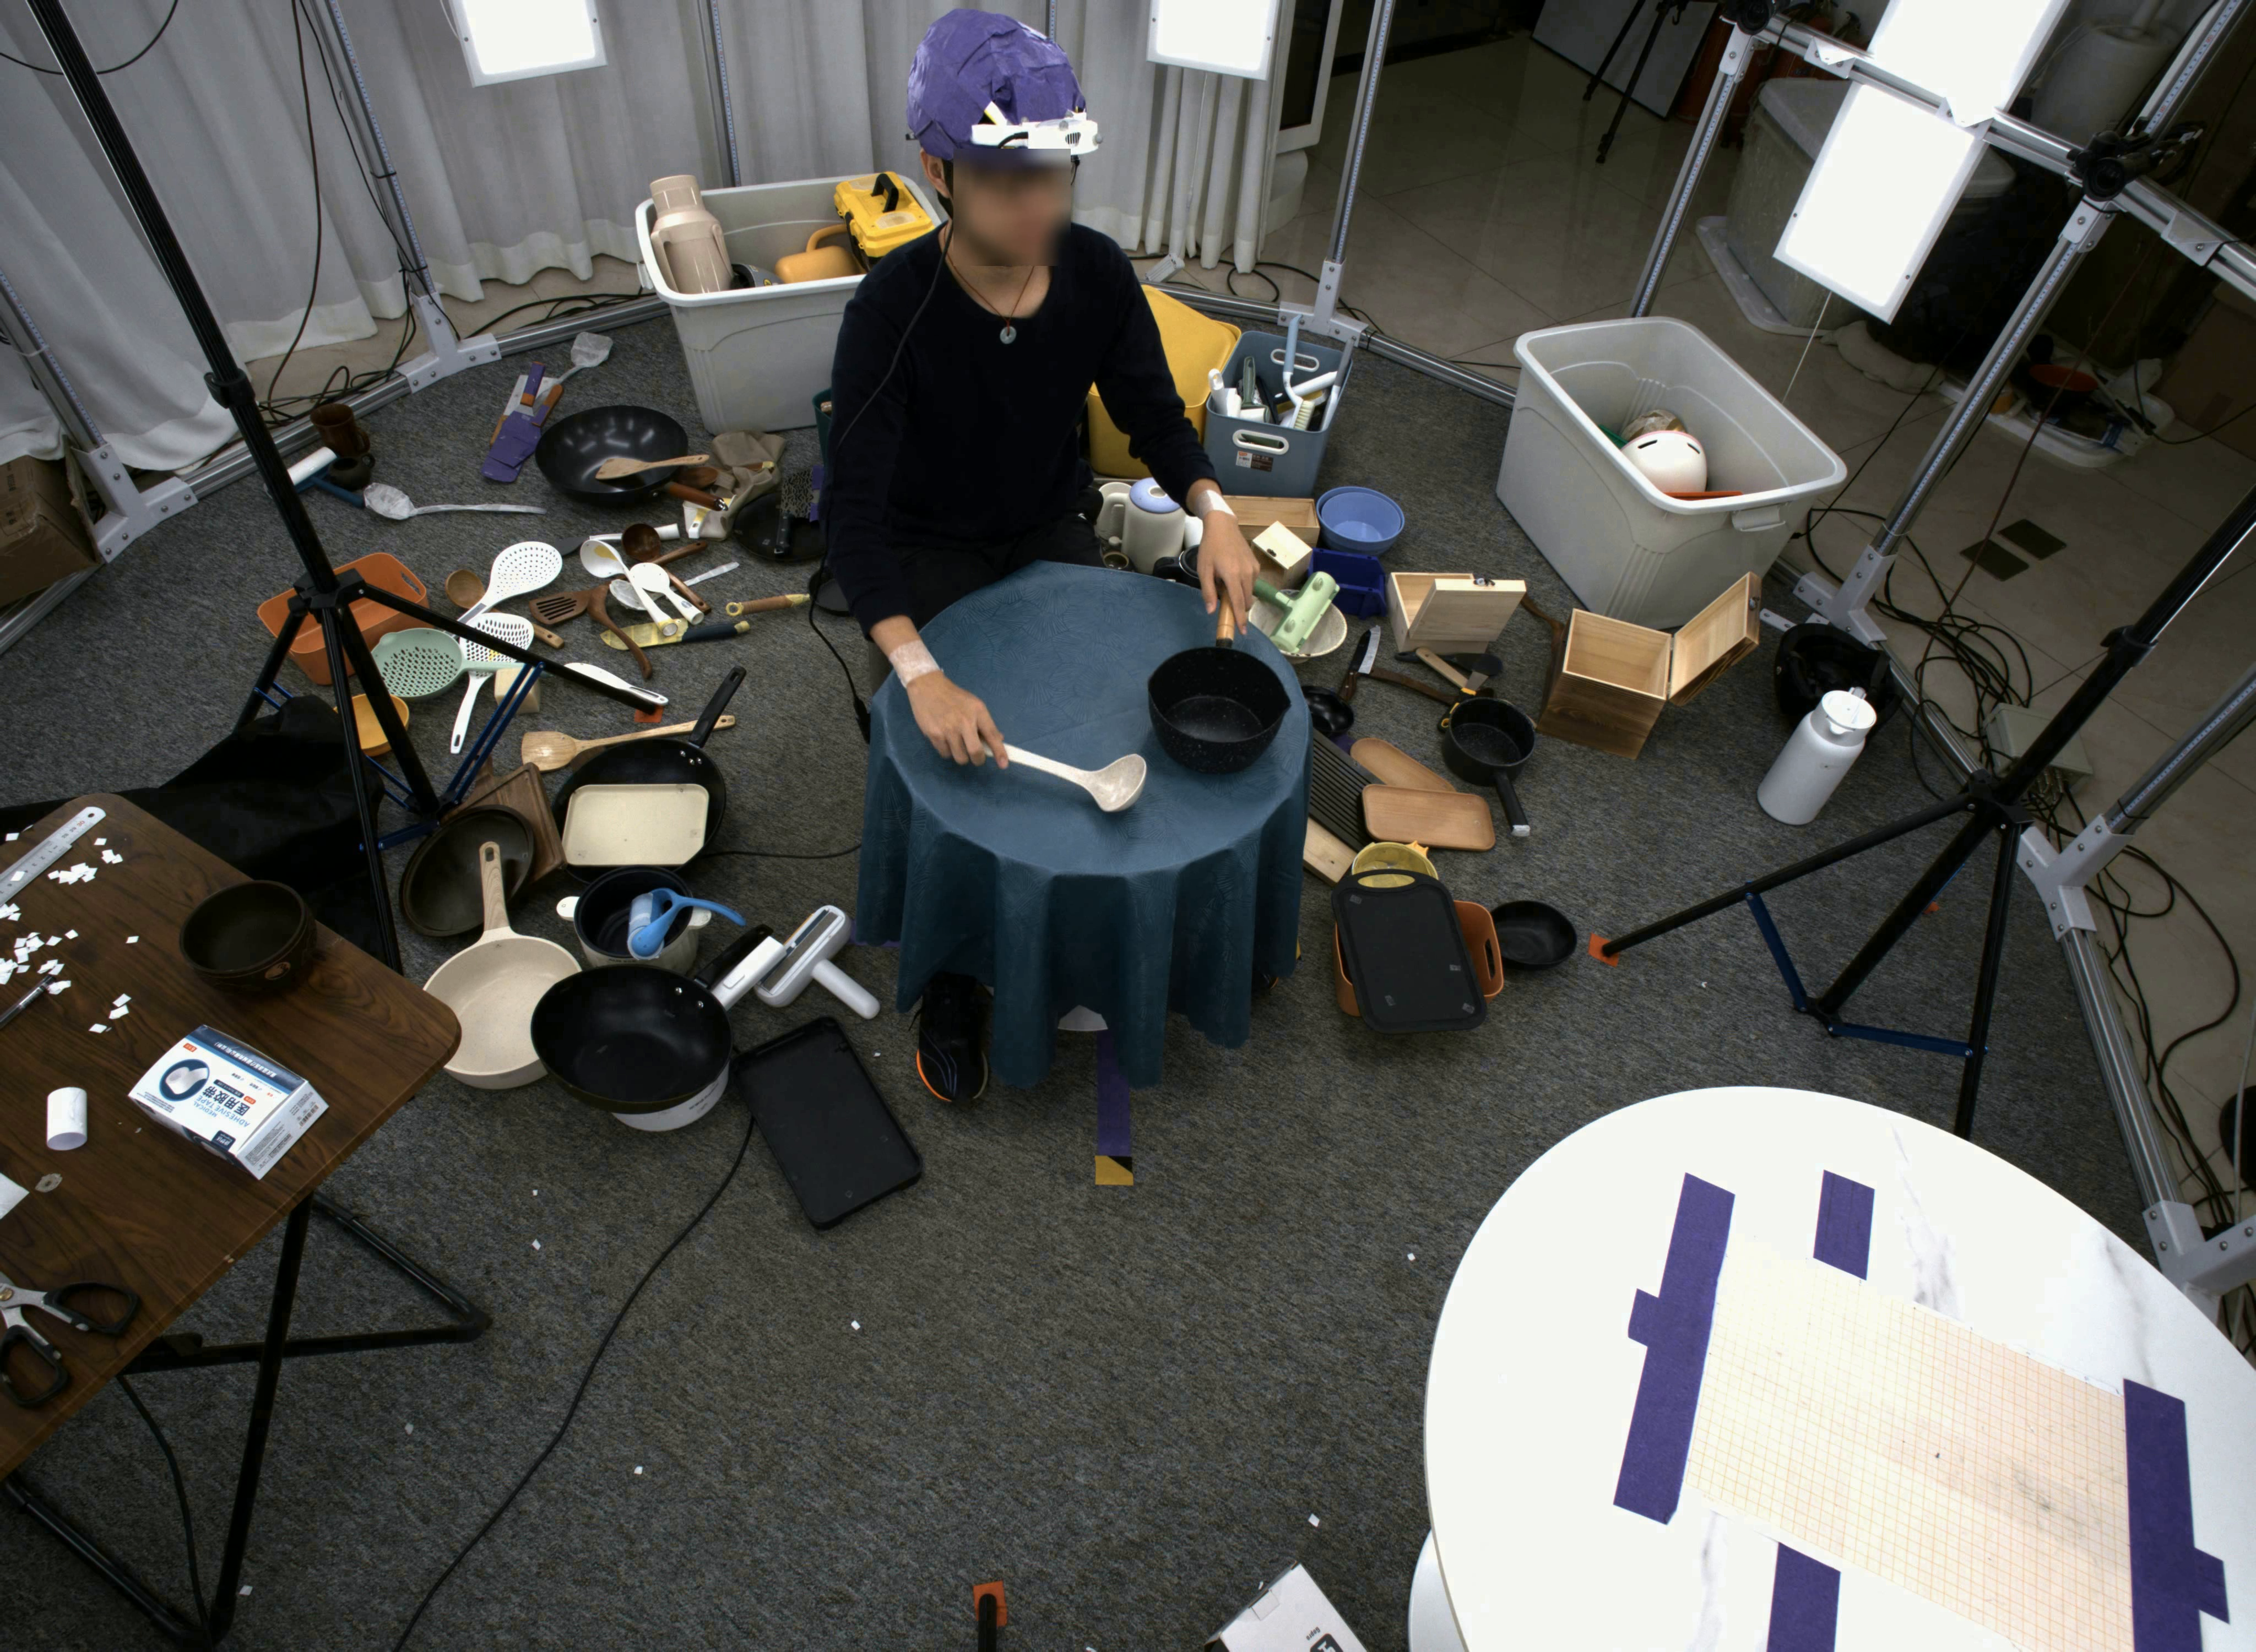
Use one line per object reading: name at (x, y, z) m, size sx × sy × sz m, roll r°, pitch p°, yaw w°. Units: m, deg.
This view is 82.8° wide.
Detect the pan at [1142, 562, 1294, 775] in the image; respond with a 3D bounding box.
pan at (0.128, -0.222, 1.800) m, size 0.207 × 0.105 × 0.351 m, roll 6°, pitch 50°, yaw 3°

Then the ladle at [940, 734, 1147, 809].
ladle at (-0.111, -0.092, 1.671) m, size 0.275 × 0.068 × 0.091 m, roll 17°, pitch 56°, yaw 1°
